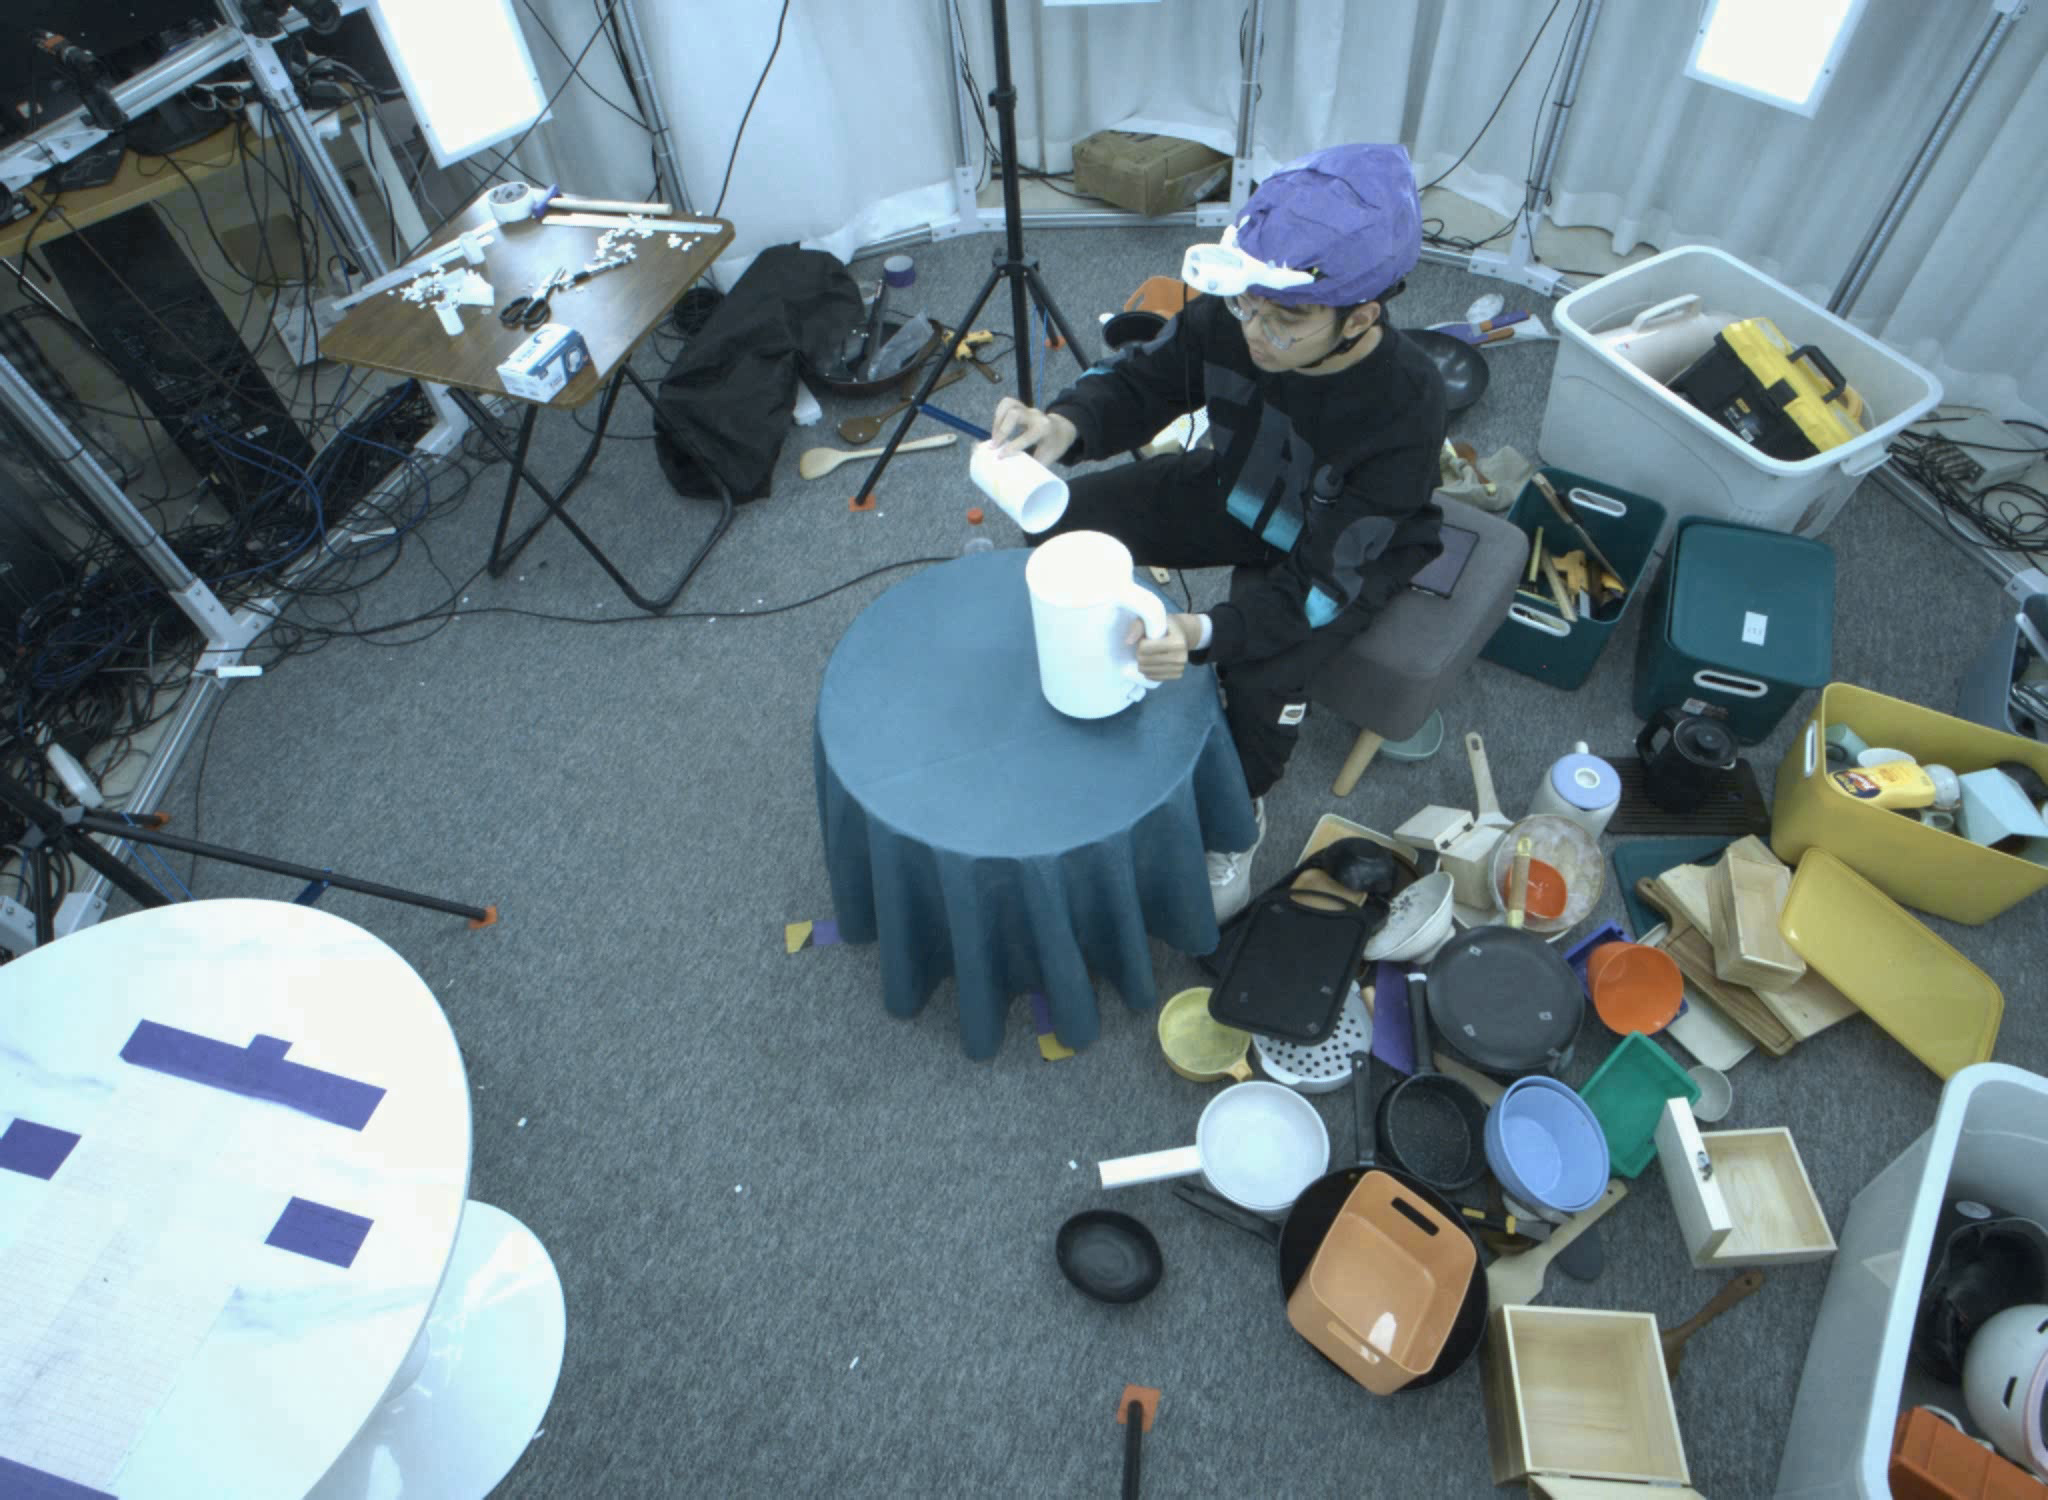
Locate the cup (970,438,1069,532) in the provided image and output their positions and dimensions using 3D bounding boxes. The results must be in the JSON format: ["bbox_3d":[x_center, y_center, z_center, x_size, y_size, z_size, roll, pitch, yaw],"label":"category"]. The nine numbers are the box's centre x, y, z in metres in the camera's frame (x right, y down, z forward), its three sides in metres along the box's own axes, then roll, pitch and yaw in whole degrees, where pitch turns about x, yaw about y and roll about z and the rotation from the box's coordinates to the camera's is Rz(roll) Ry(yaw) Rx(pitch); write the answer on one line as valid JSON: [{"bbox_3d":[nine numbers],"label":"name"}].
[{"bbox_3d":[-0.012,-0.357,1.627,0.082,0.082,0.123,-33,60,-19],"label":"cup"}]

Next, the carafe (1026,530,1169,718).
[{"bbox_3d":[0.105,-0.162,1.712,0.209,0.243,0.153,30,64,27],"label":"carafe"}]
